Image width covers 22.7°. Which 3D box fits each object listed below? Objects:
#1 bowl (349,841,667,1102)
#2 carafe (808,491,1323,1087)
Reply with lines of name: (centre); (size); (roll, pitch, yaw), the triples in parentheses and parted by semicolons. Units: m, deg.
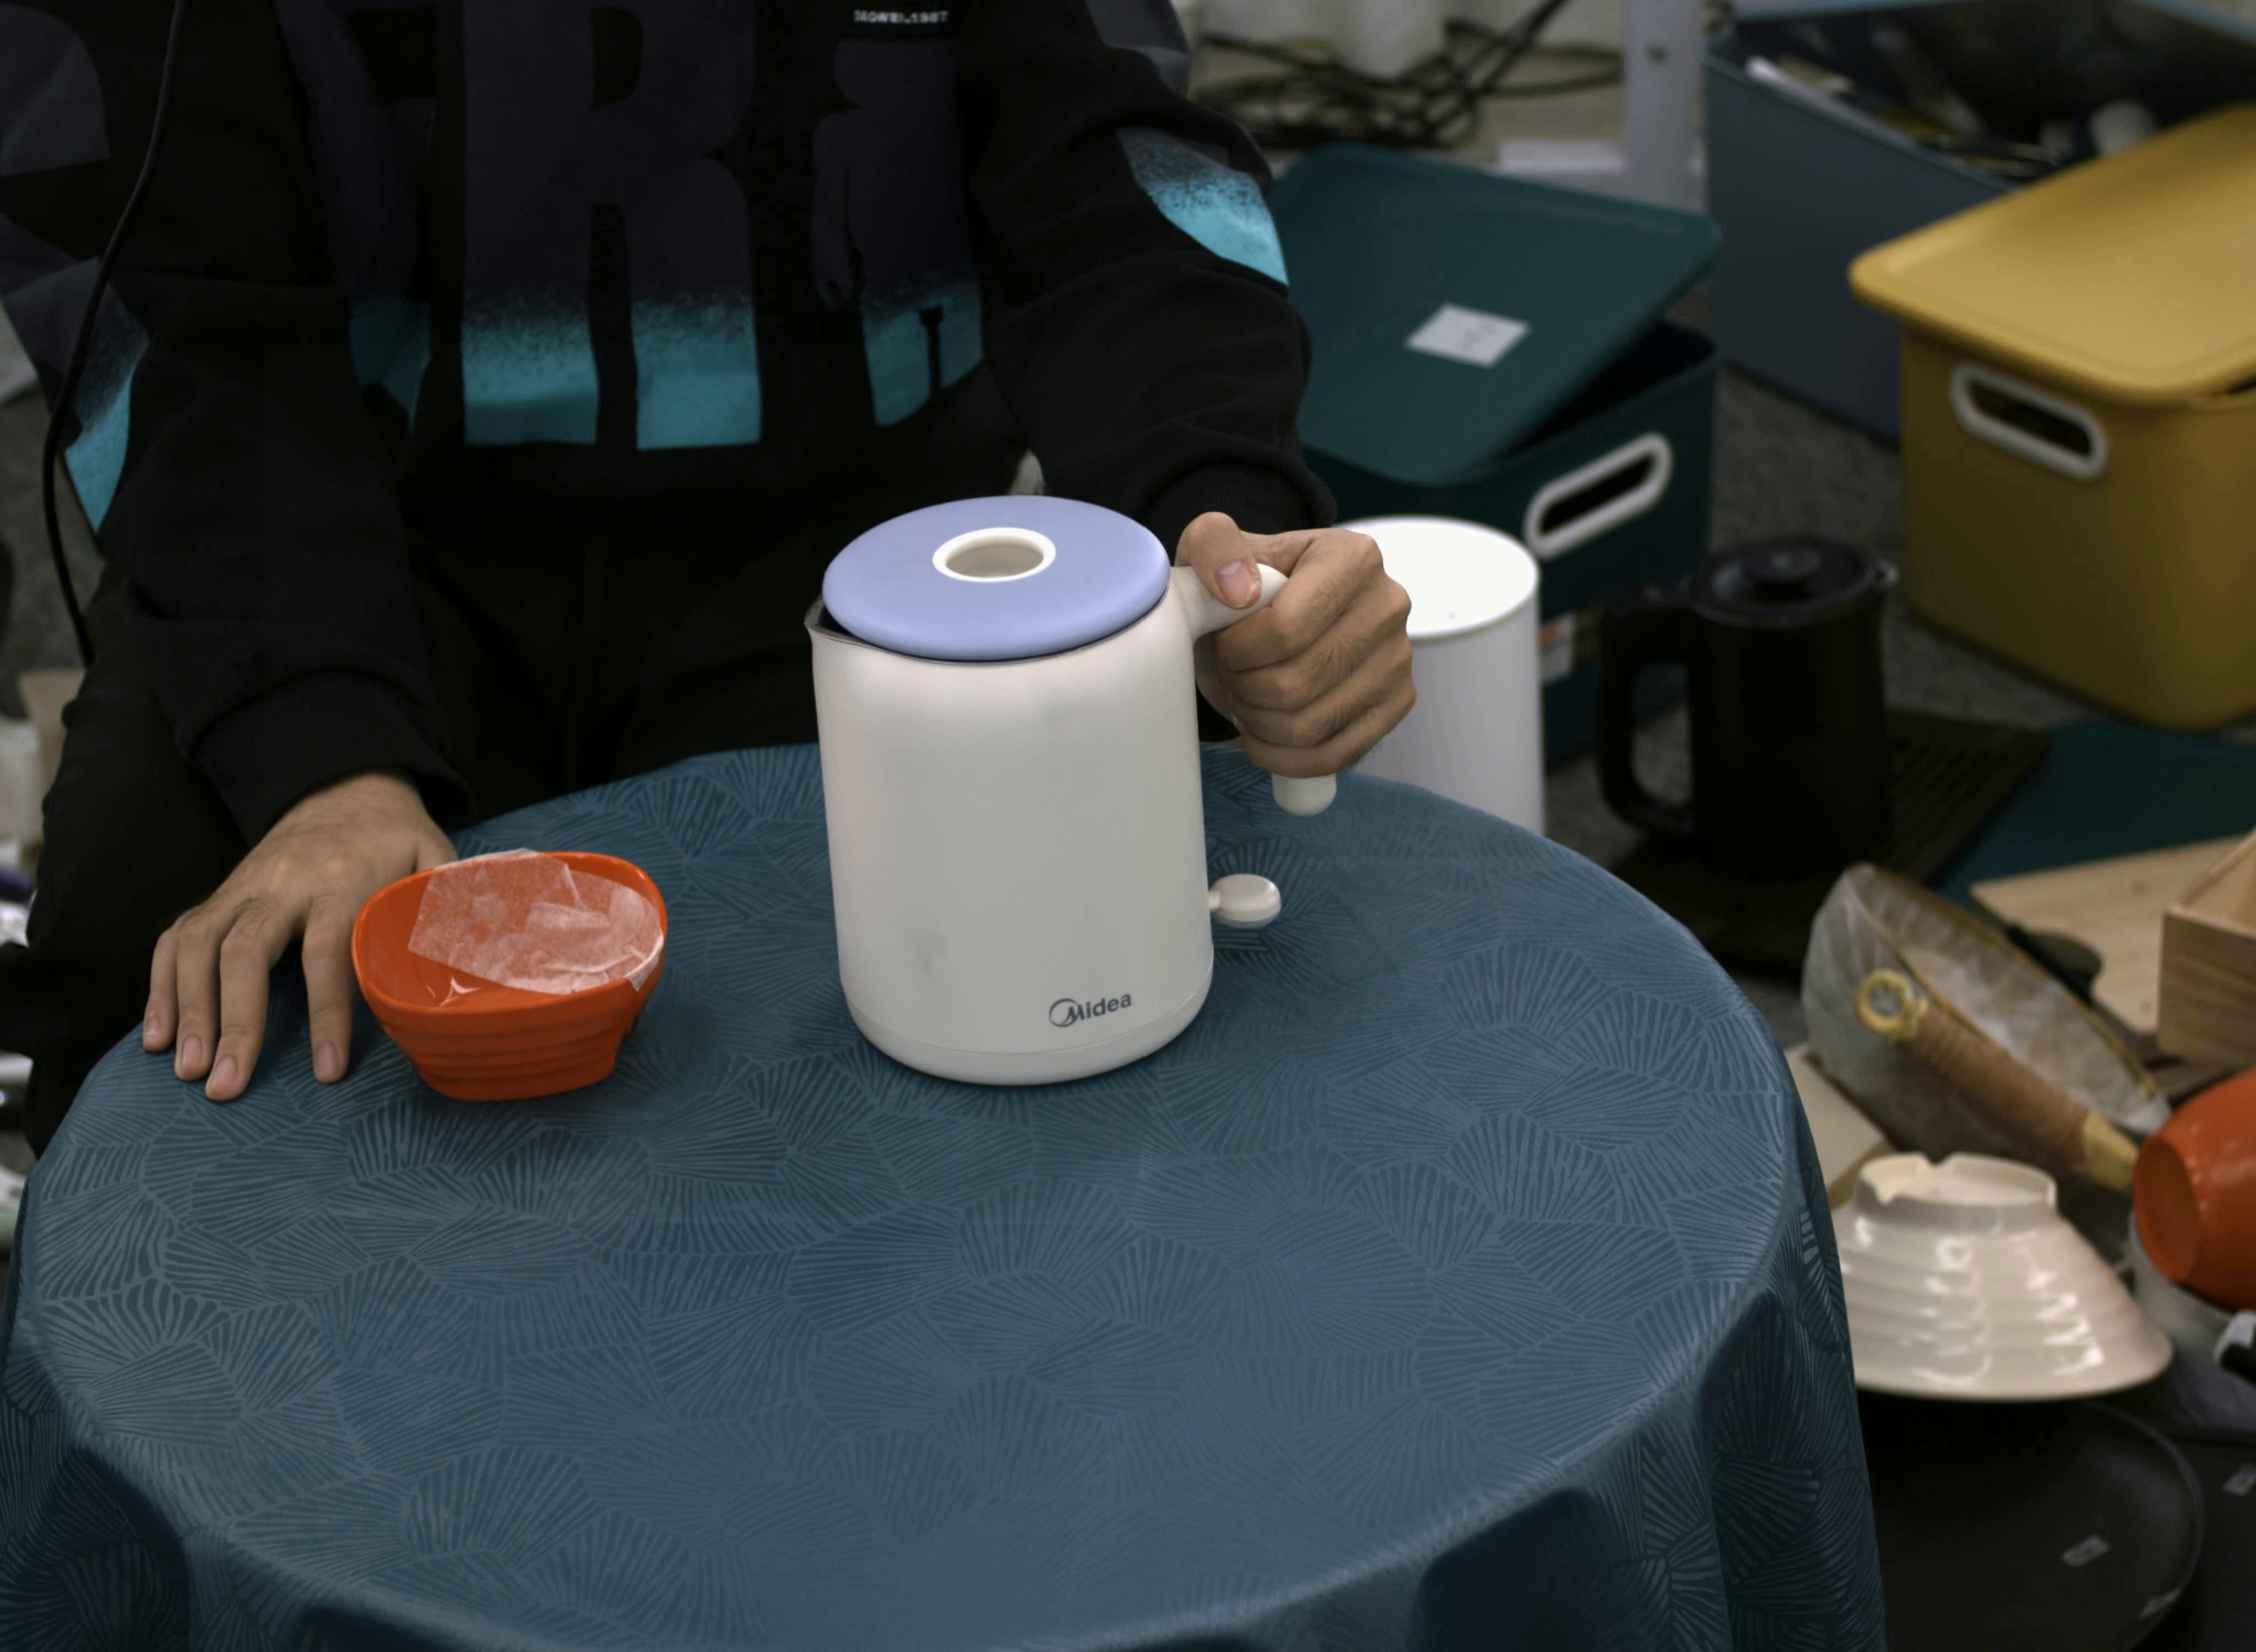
bowl: (-0.212, 0.056, 1.950); (0.118, 0.051, 0.121); (-3, 30, 2)
carafe: (-0.018, -0.018, 1.949); (0.192, 0.180, 0.133); (-12, 29, -21)
